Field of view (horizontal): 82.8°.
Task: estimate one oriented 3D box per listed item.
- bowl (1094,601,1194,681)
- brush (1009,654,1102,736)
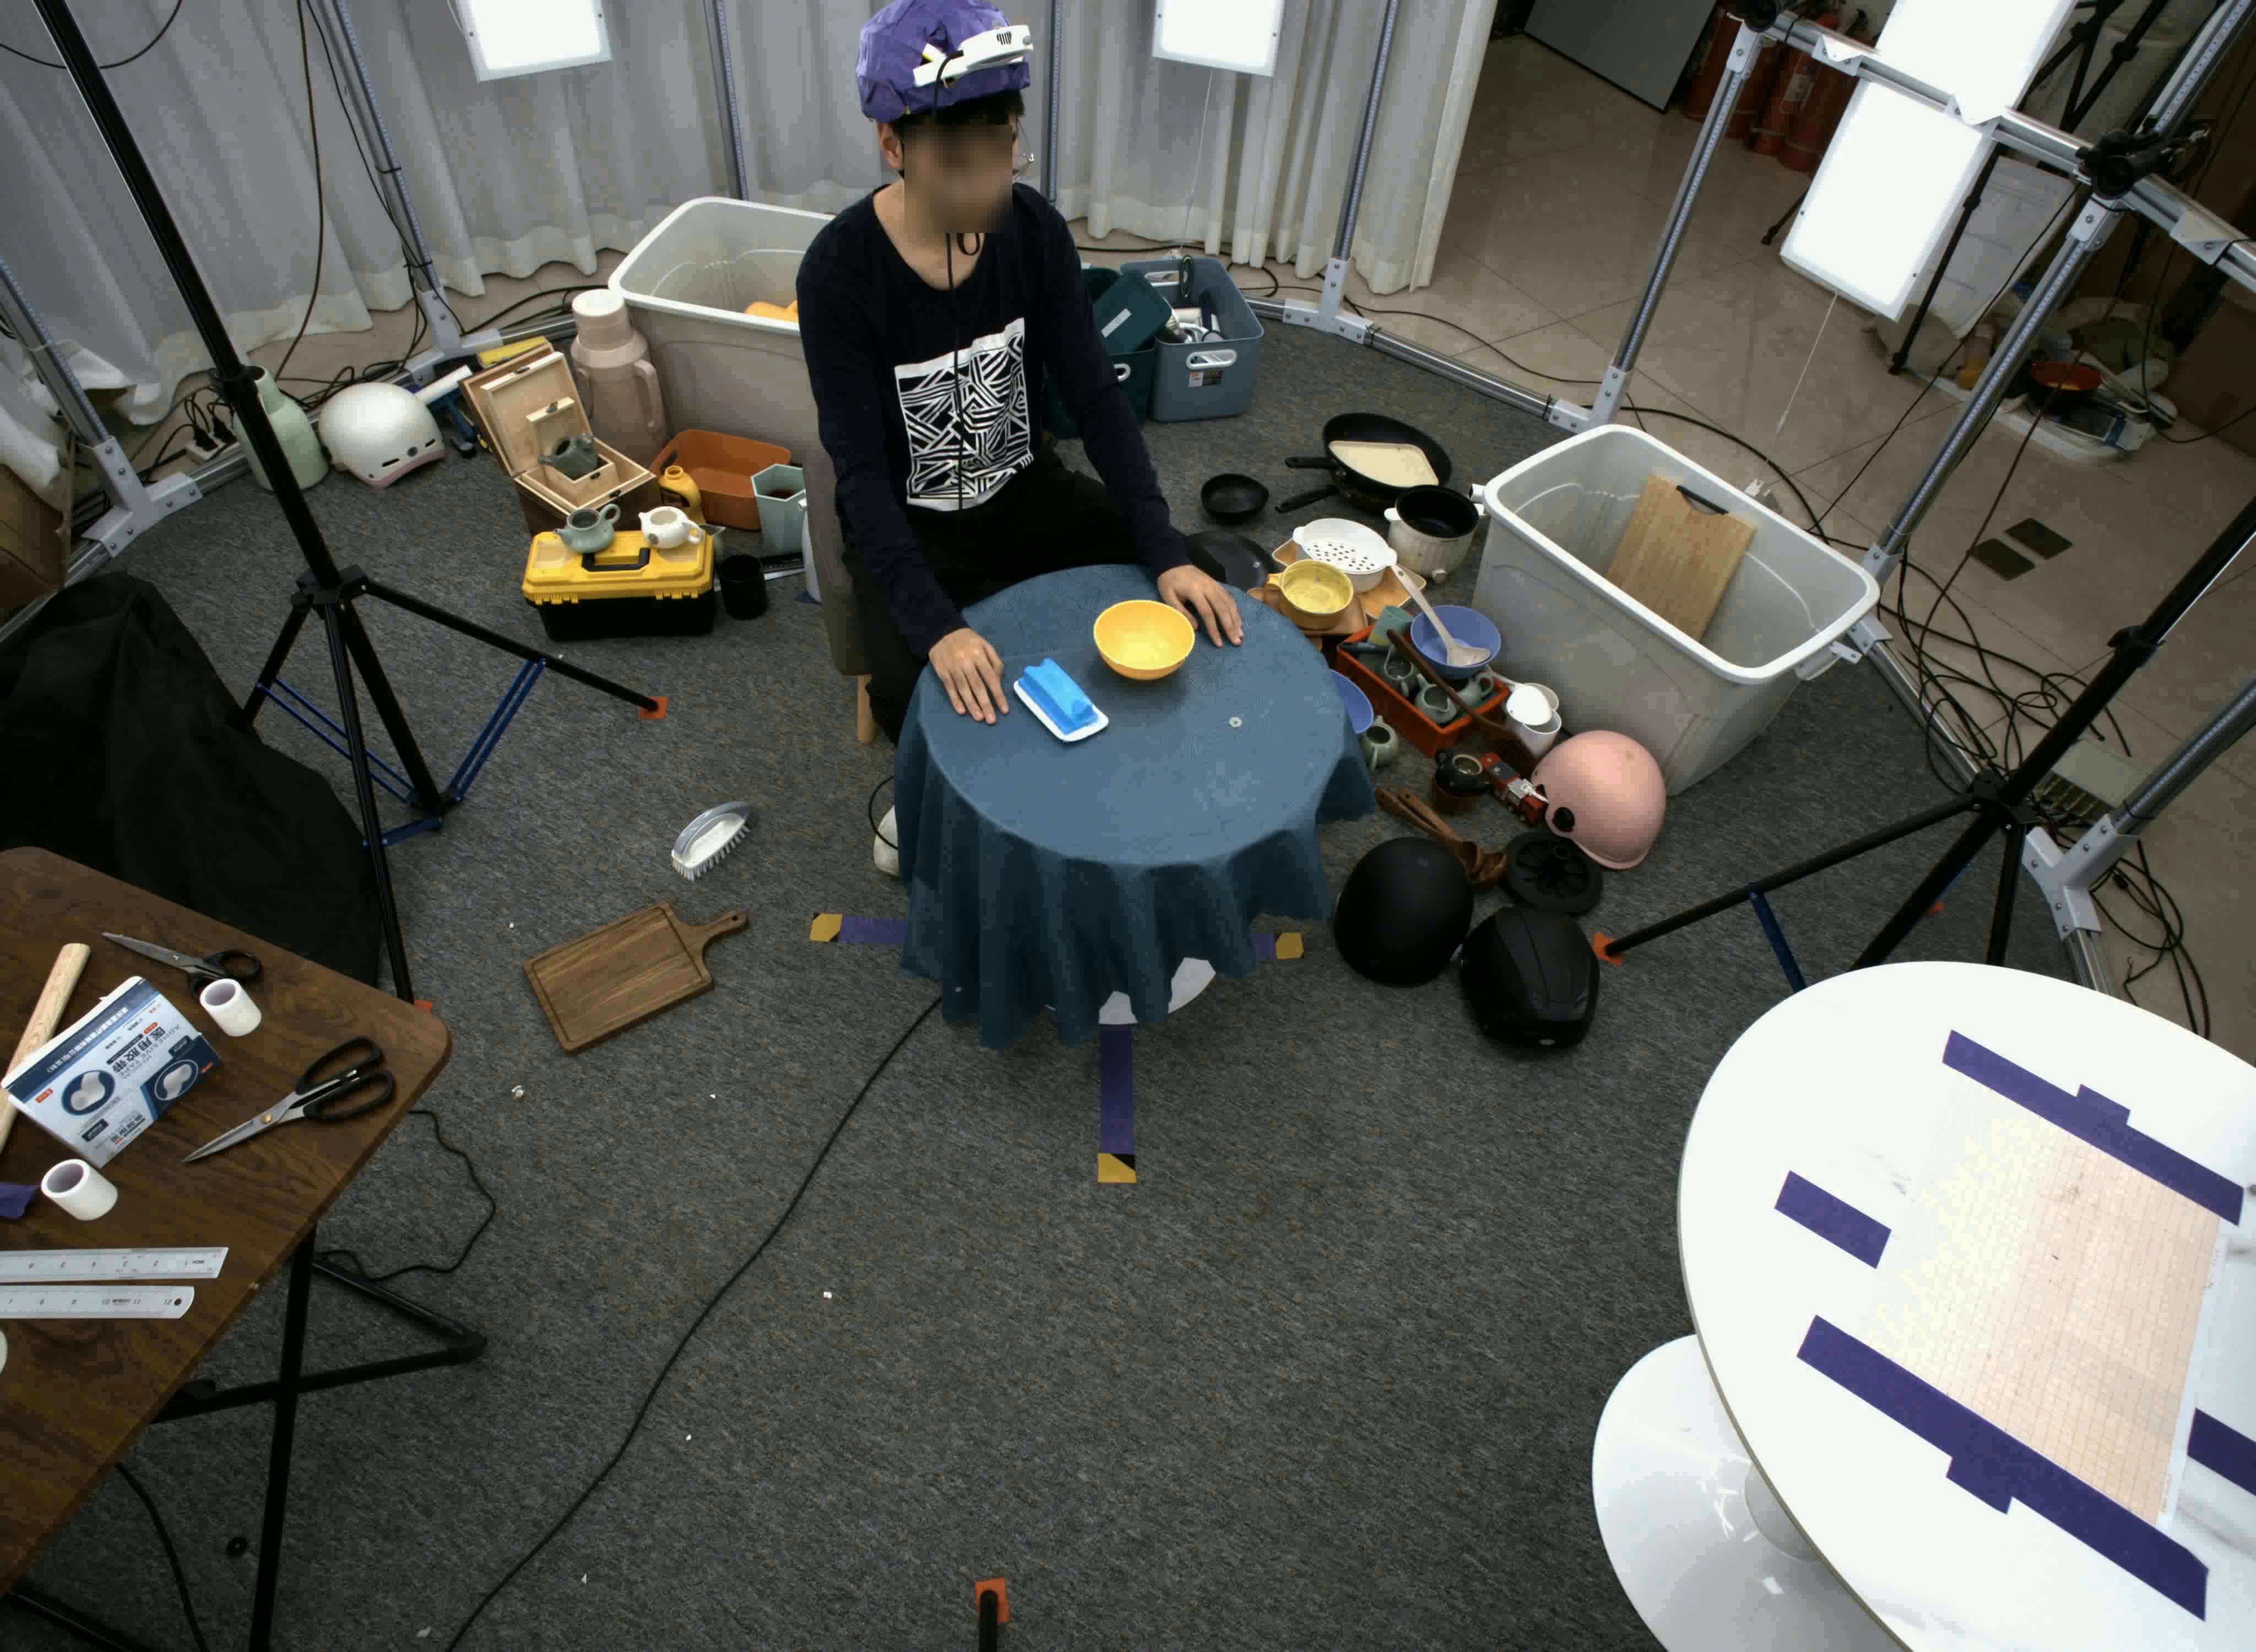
[{"bbox_3d":[0.020,-0.256,1.856,0.145,0.058,0.149,3,49,-4],"label":"bowl"},{"bbox_3d":[-0.099,-0.189,1.785,0.084,0.054,0.147,-22,56,-26],"label":"brush"}]
